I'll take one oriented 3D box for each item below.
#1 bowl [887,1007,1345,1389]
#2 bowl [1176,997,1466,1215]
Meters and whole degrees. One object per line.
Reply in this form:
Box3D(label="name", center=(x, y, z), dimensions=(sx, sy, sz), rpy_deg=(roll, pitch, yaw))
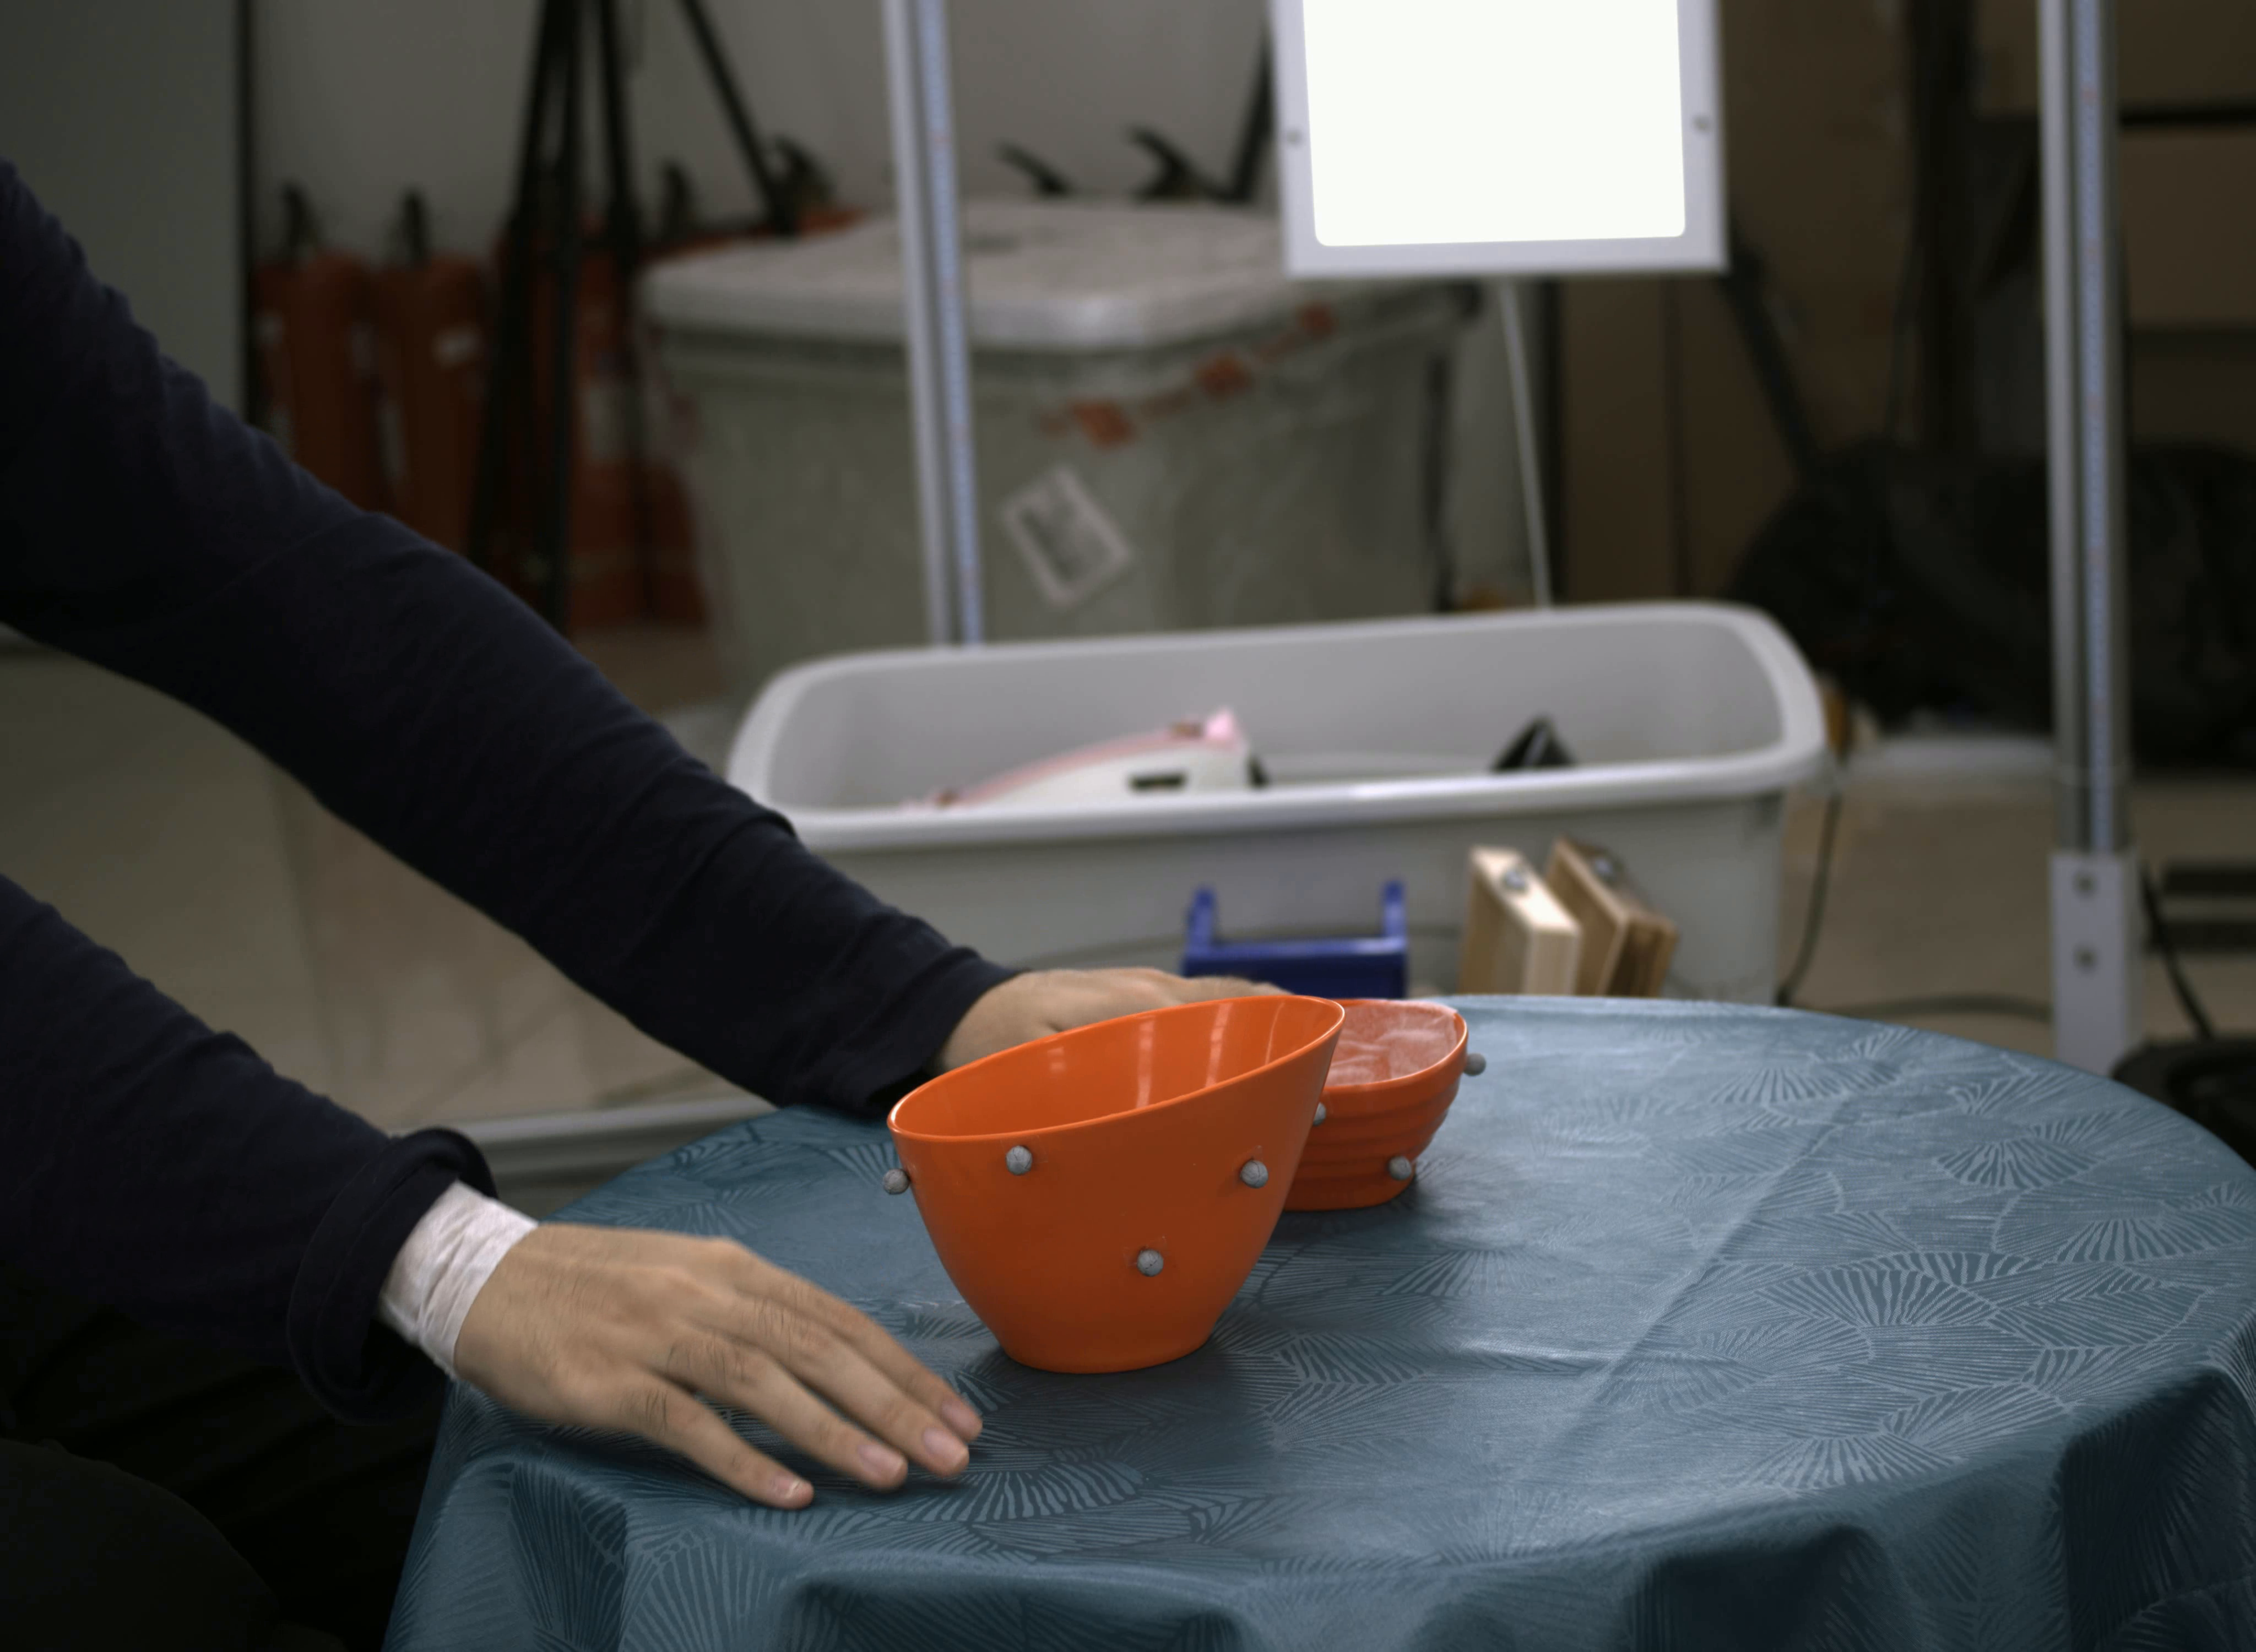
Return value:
Box3D(label="bowl", center=(0.000, 0.118, 1.736), dimensions=(0.147, 0.105, 0.148), rpy_deg=(-7, 12, 0))
Box3D(label="bowl", center=(0.063, 0.099, 1.891), dimensions=(0.118, 0.051, 0.119), rpy_deg=(-7, 15, 0))
